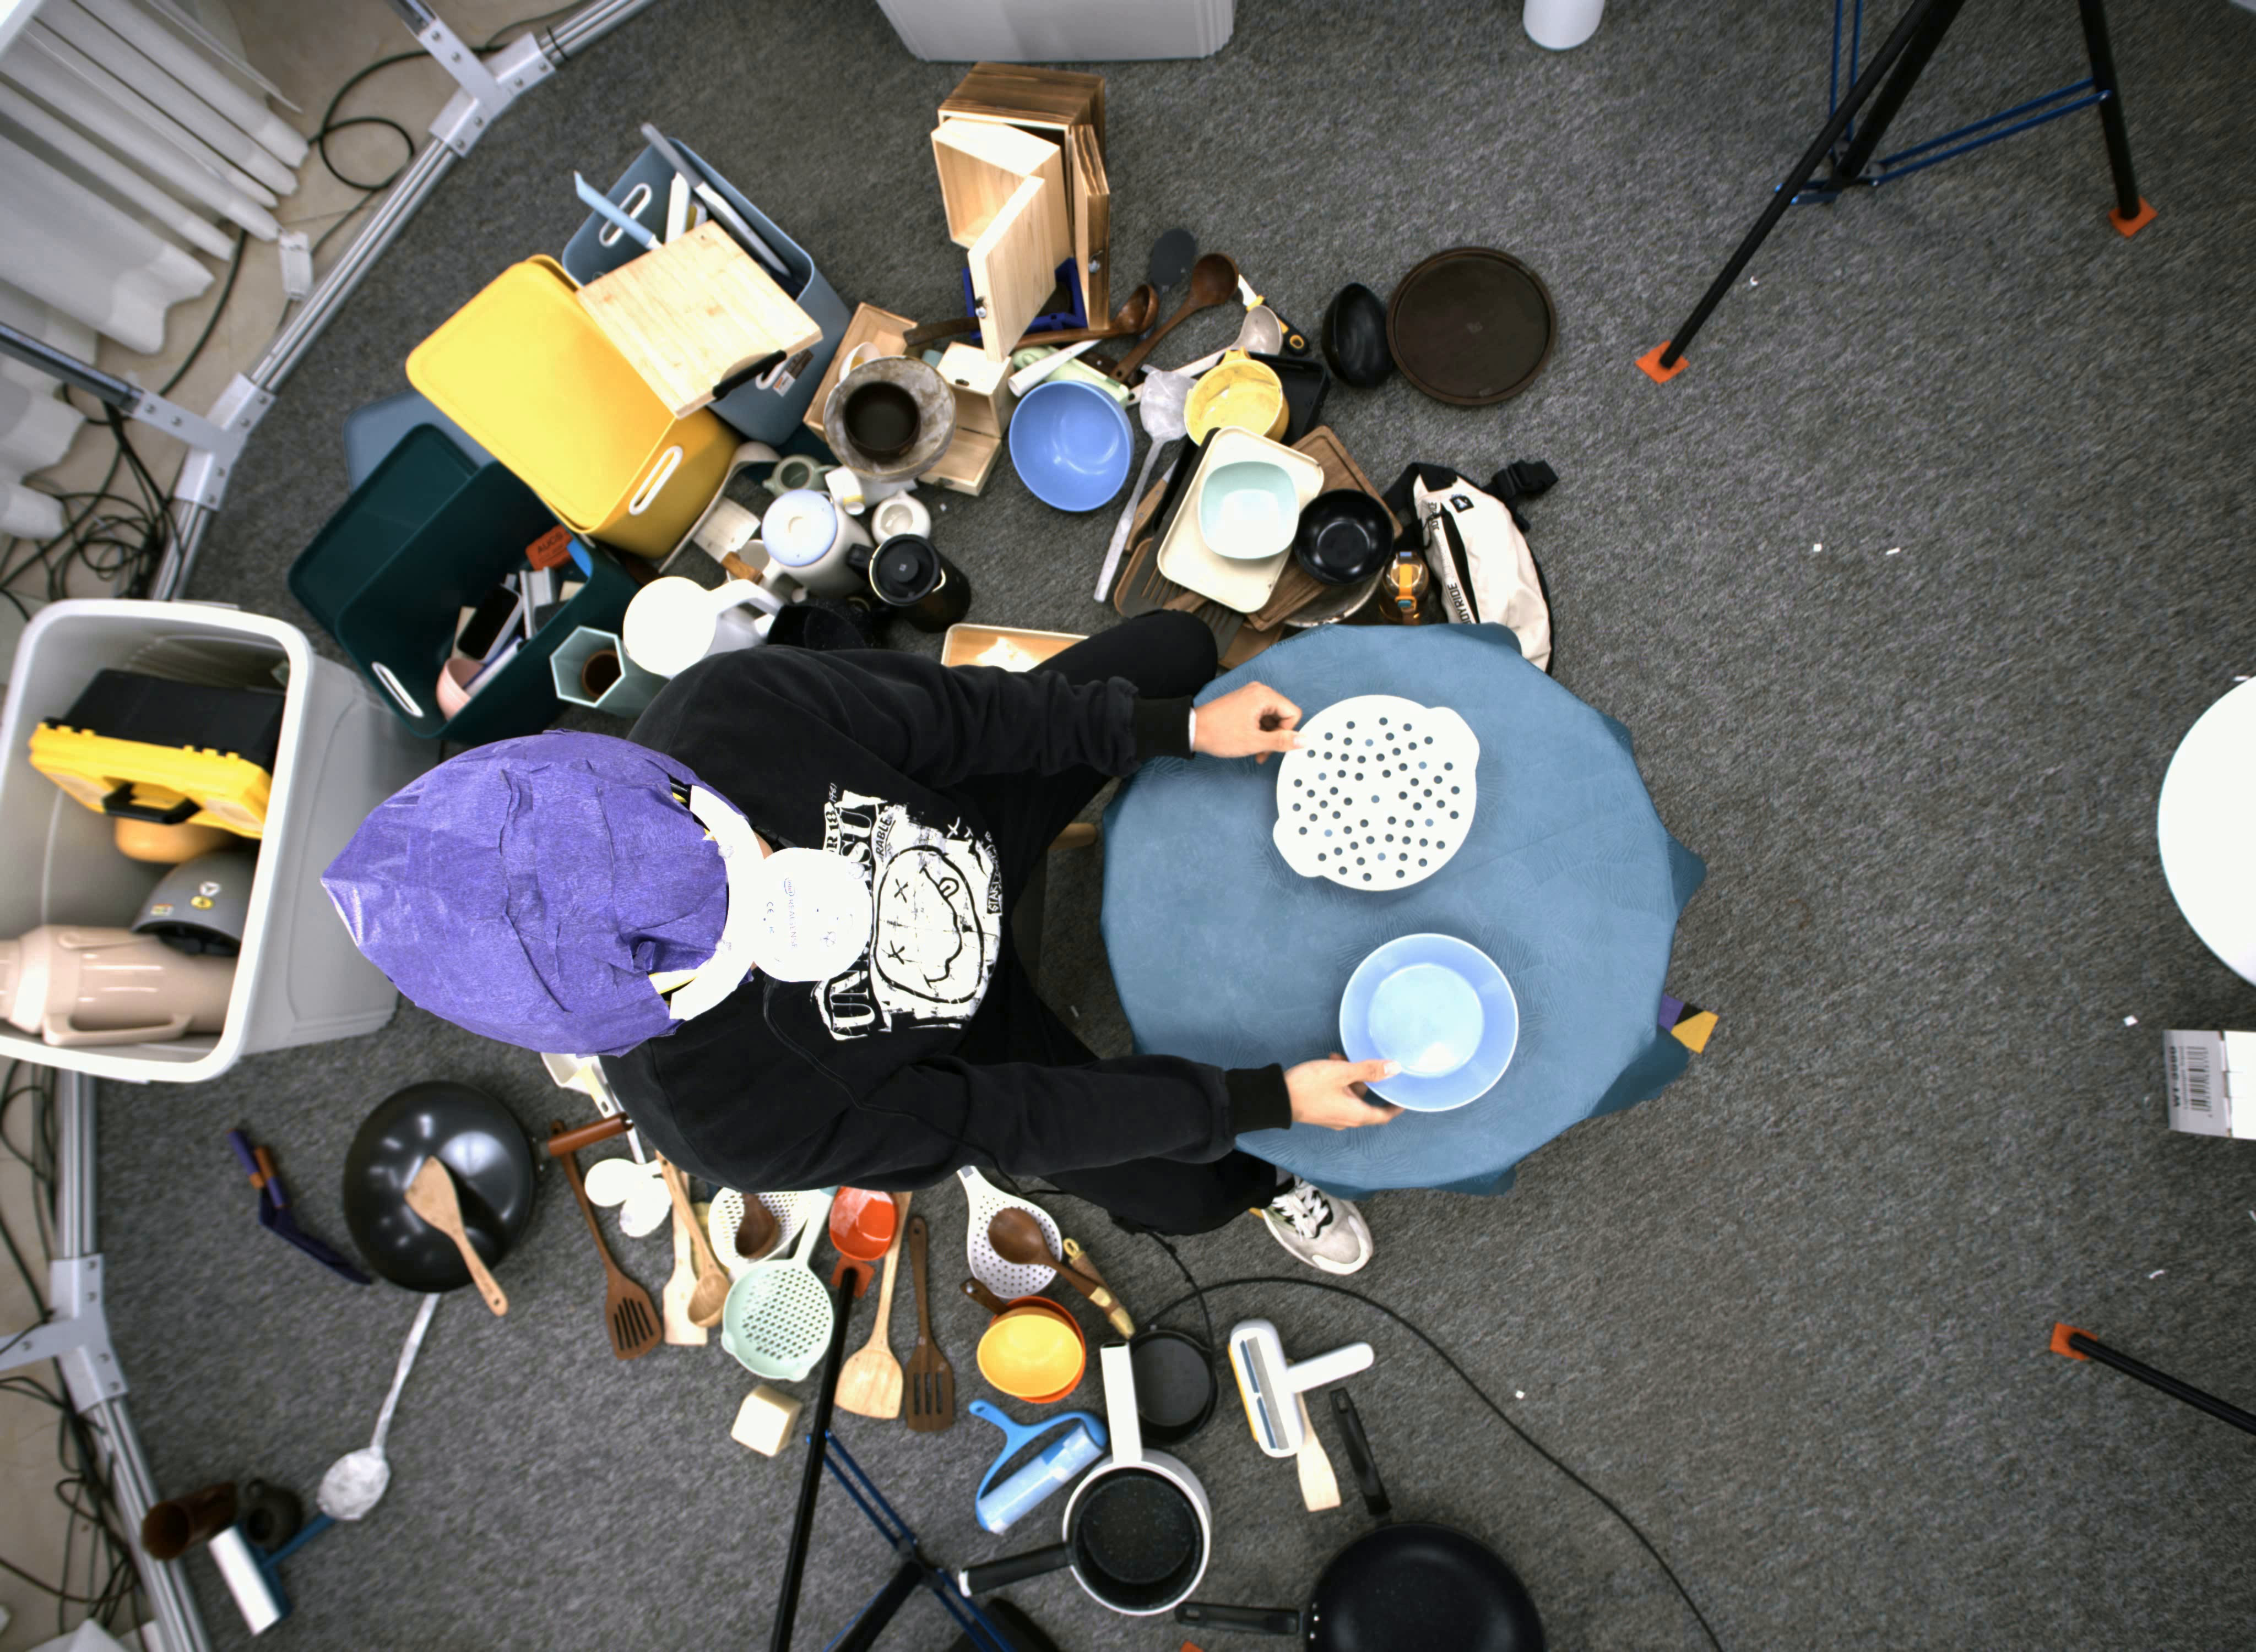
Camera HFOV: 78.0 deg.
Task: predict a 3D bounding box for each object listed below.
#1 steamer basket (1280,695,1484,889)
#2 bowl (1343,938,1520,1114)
[{"bbox_3d":[0.264,-0.034,1.438,0.231,0.069,0.200,-36,81,4],"label":"steamer basket"},{"bbox_3d":[0.308,0.202,1.413,0.177,0.070,0.175,-1,85,10],"label":"bowl"}]
